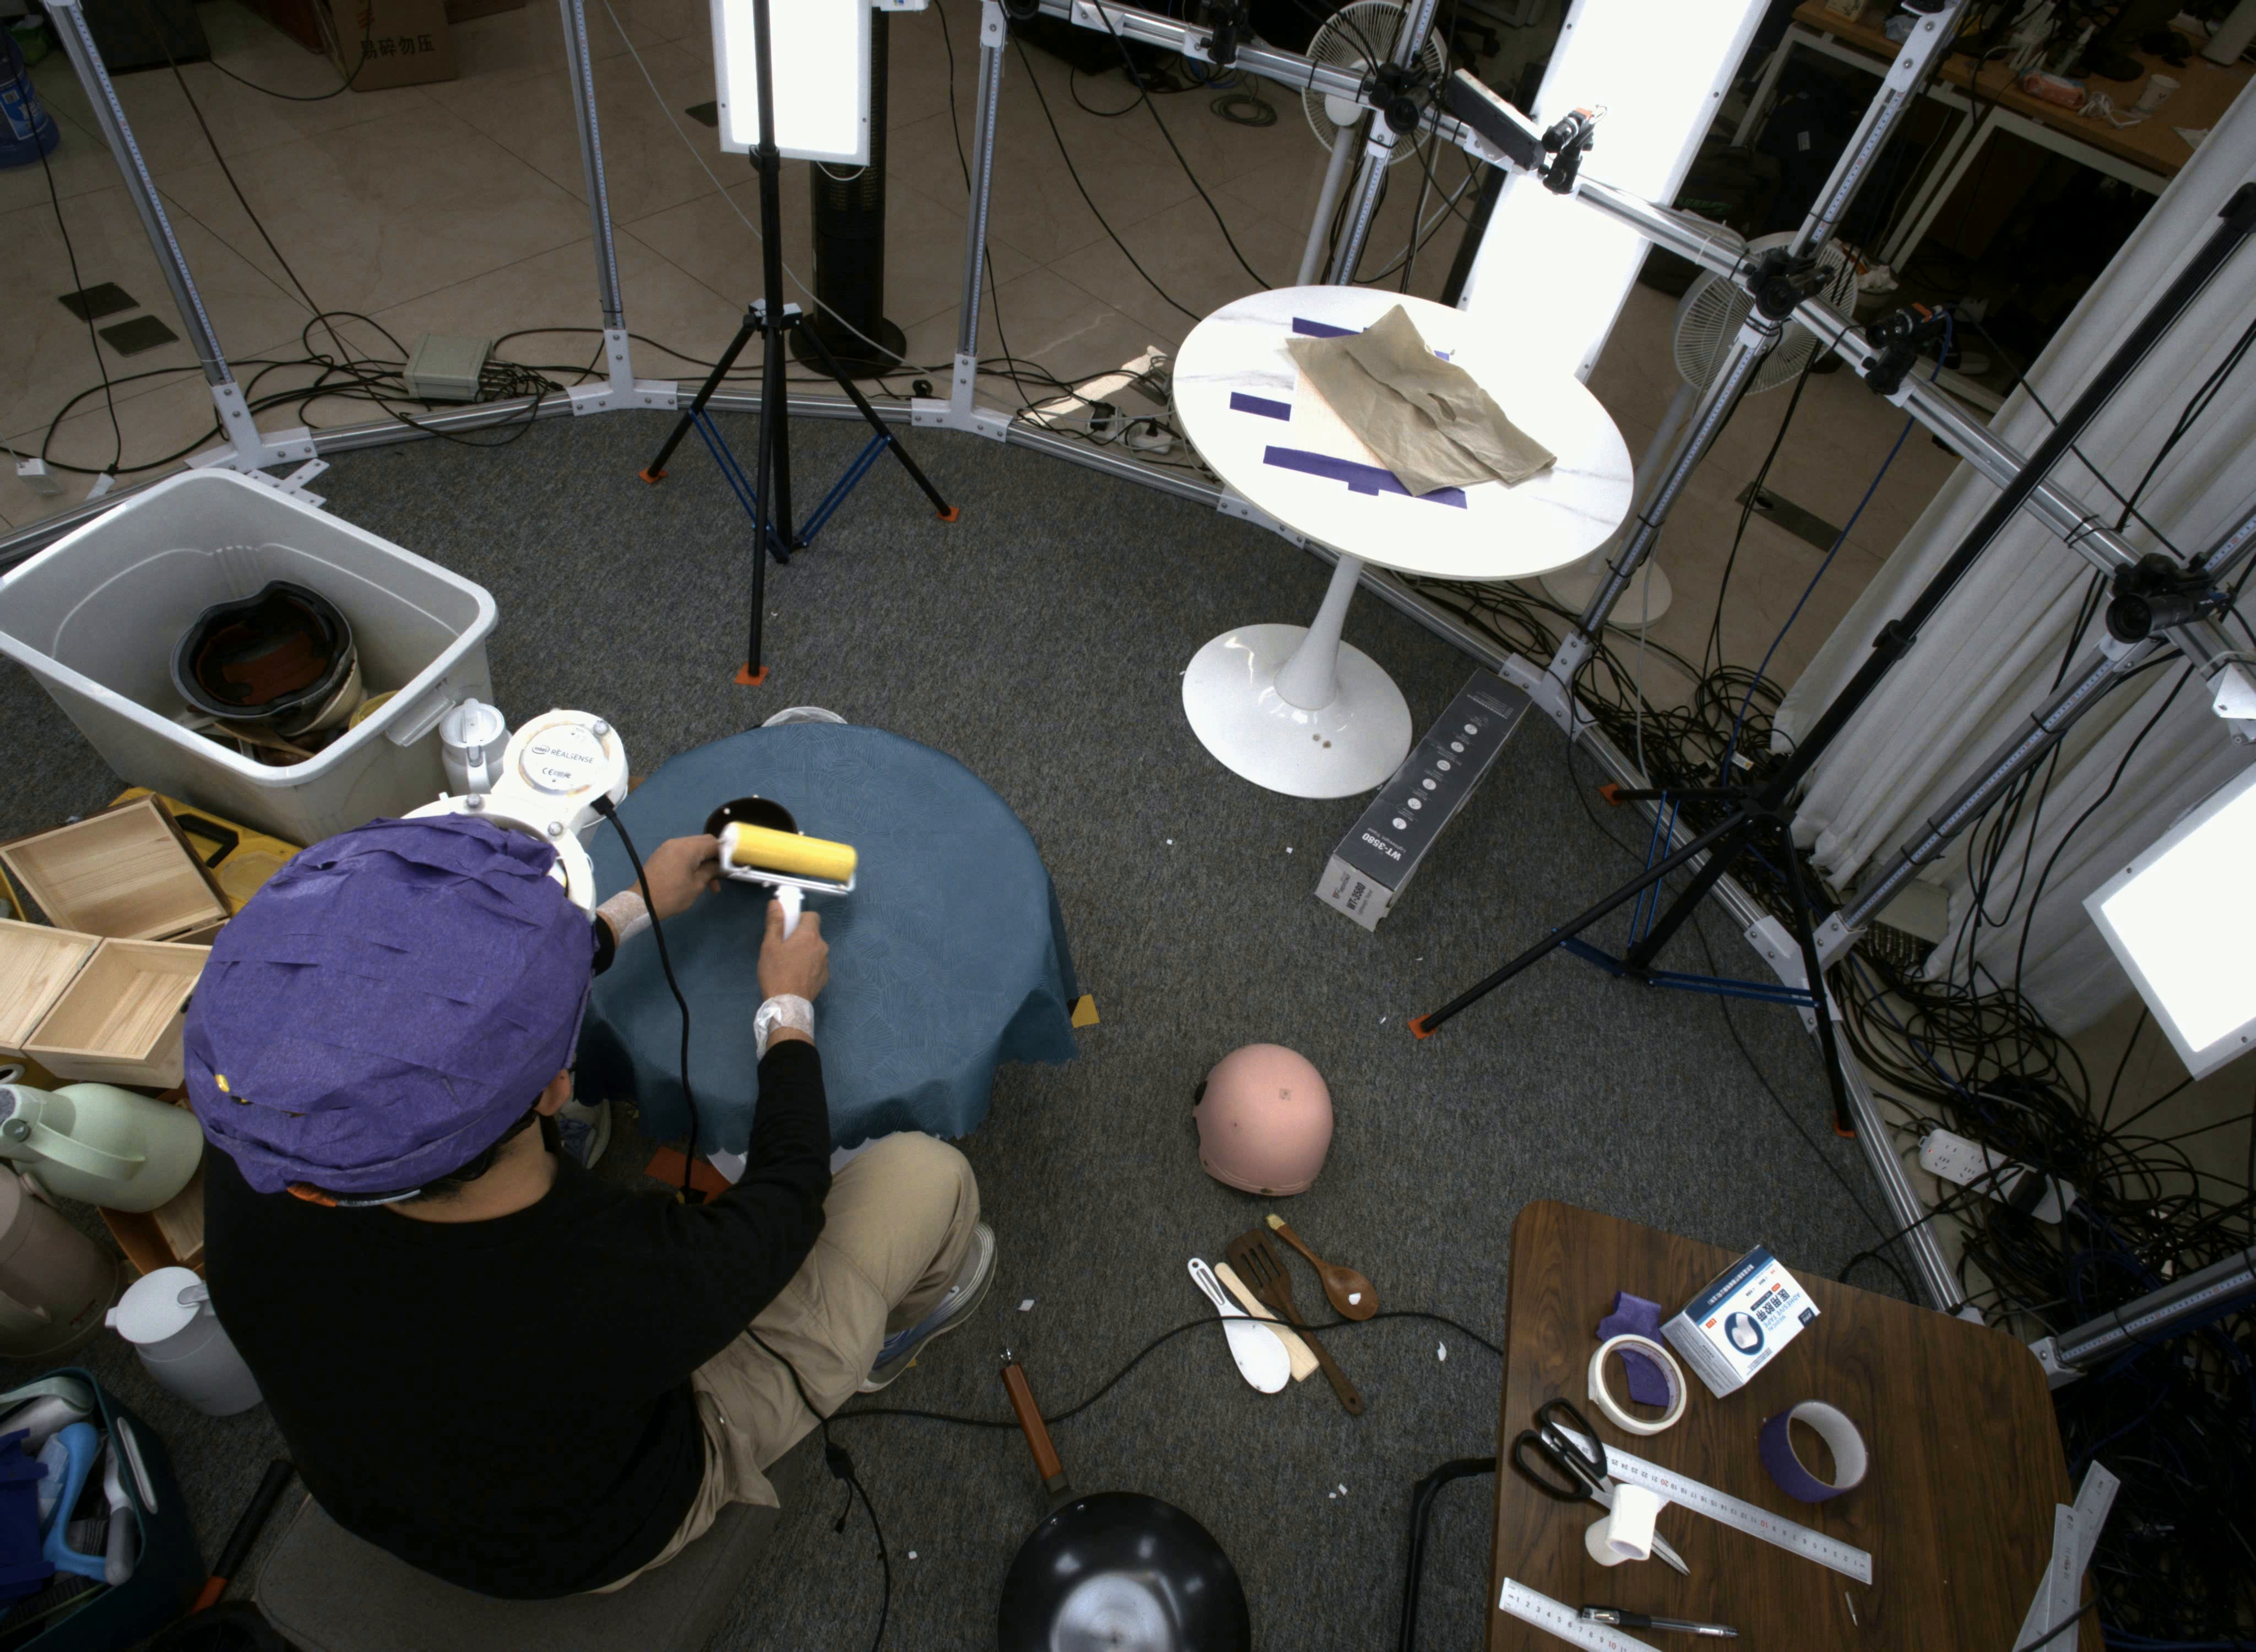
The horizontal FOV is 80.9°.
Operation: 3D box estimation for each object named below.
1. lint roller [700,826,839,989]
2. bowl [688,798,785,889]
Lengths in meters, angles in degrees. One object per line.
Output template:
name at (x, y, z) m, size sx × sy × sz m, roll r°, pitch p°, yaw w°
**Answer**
lint roller at (-0.415, 0.094, 1.545) m, size 0.178 × 0.051 × 0.189 m, roll 9°, pitch 55°, yaw -44°
bowl at (-0.492, 0.029, 1.631) m, size 0.117 × 0.071 × 0.116 m, roll 7°, pitch 51°, yaw -7°
